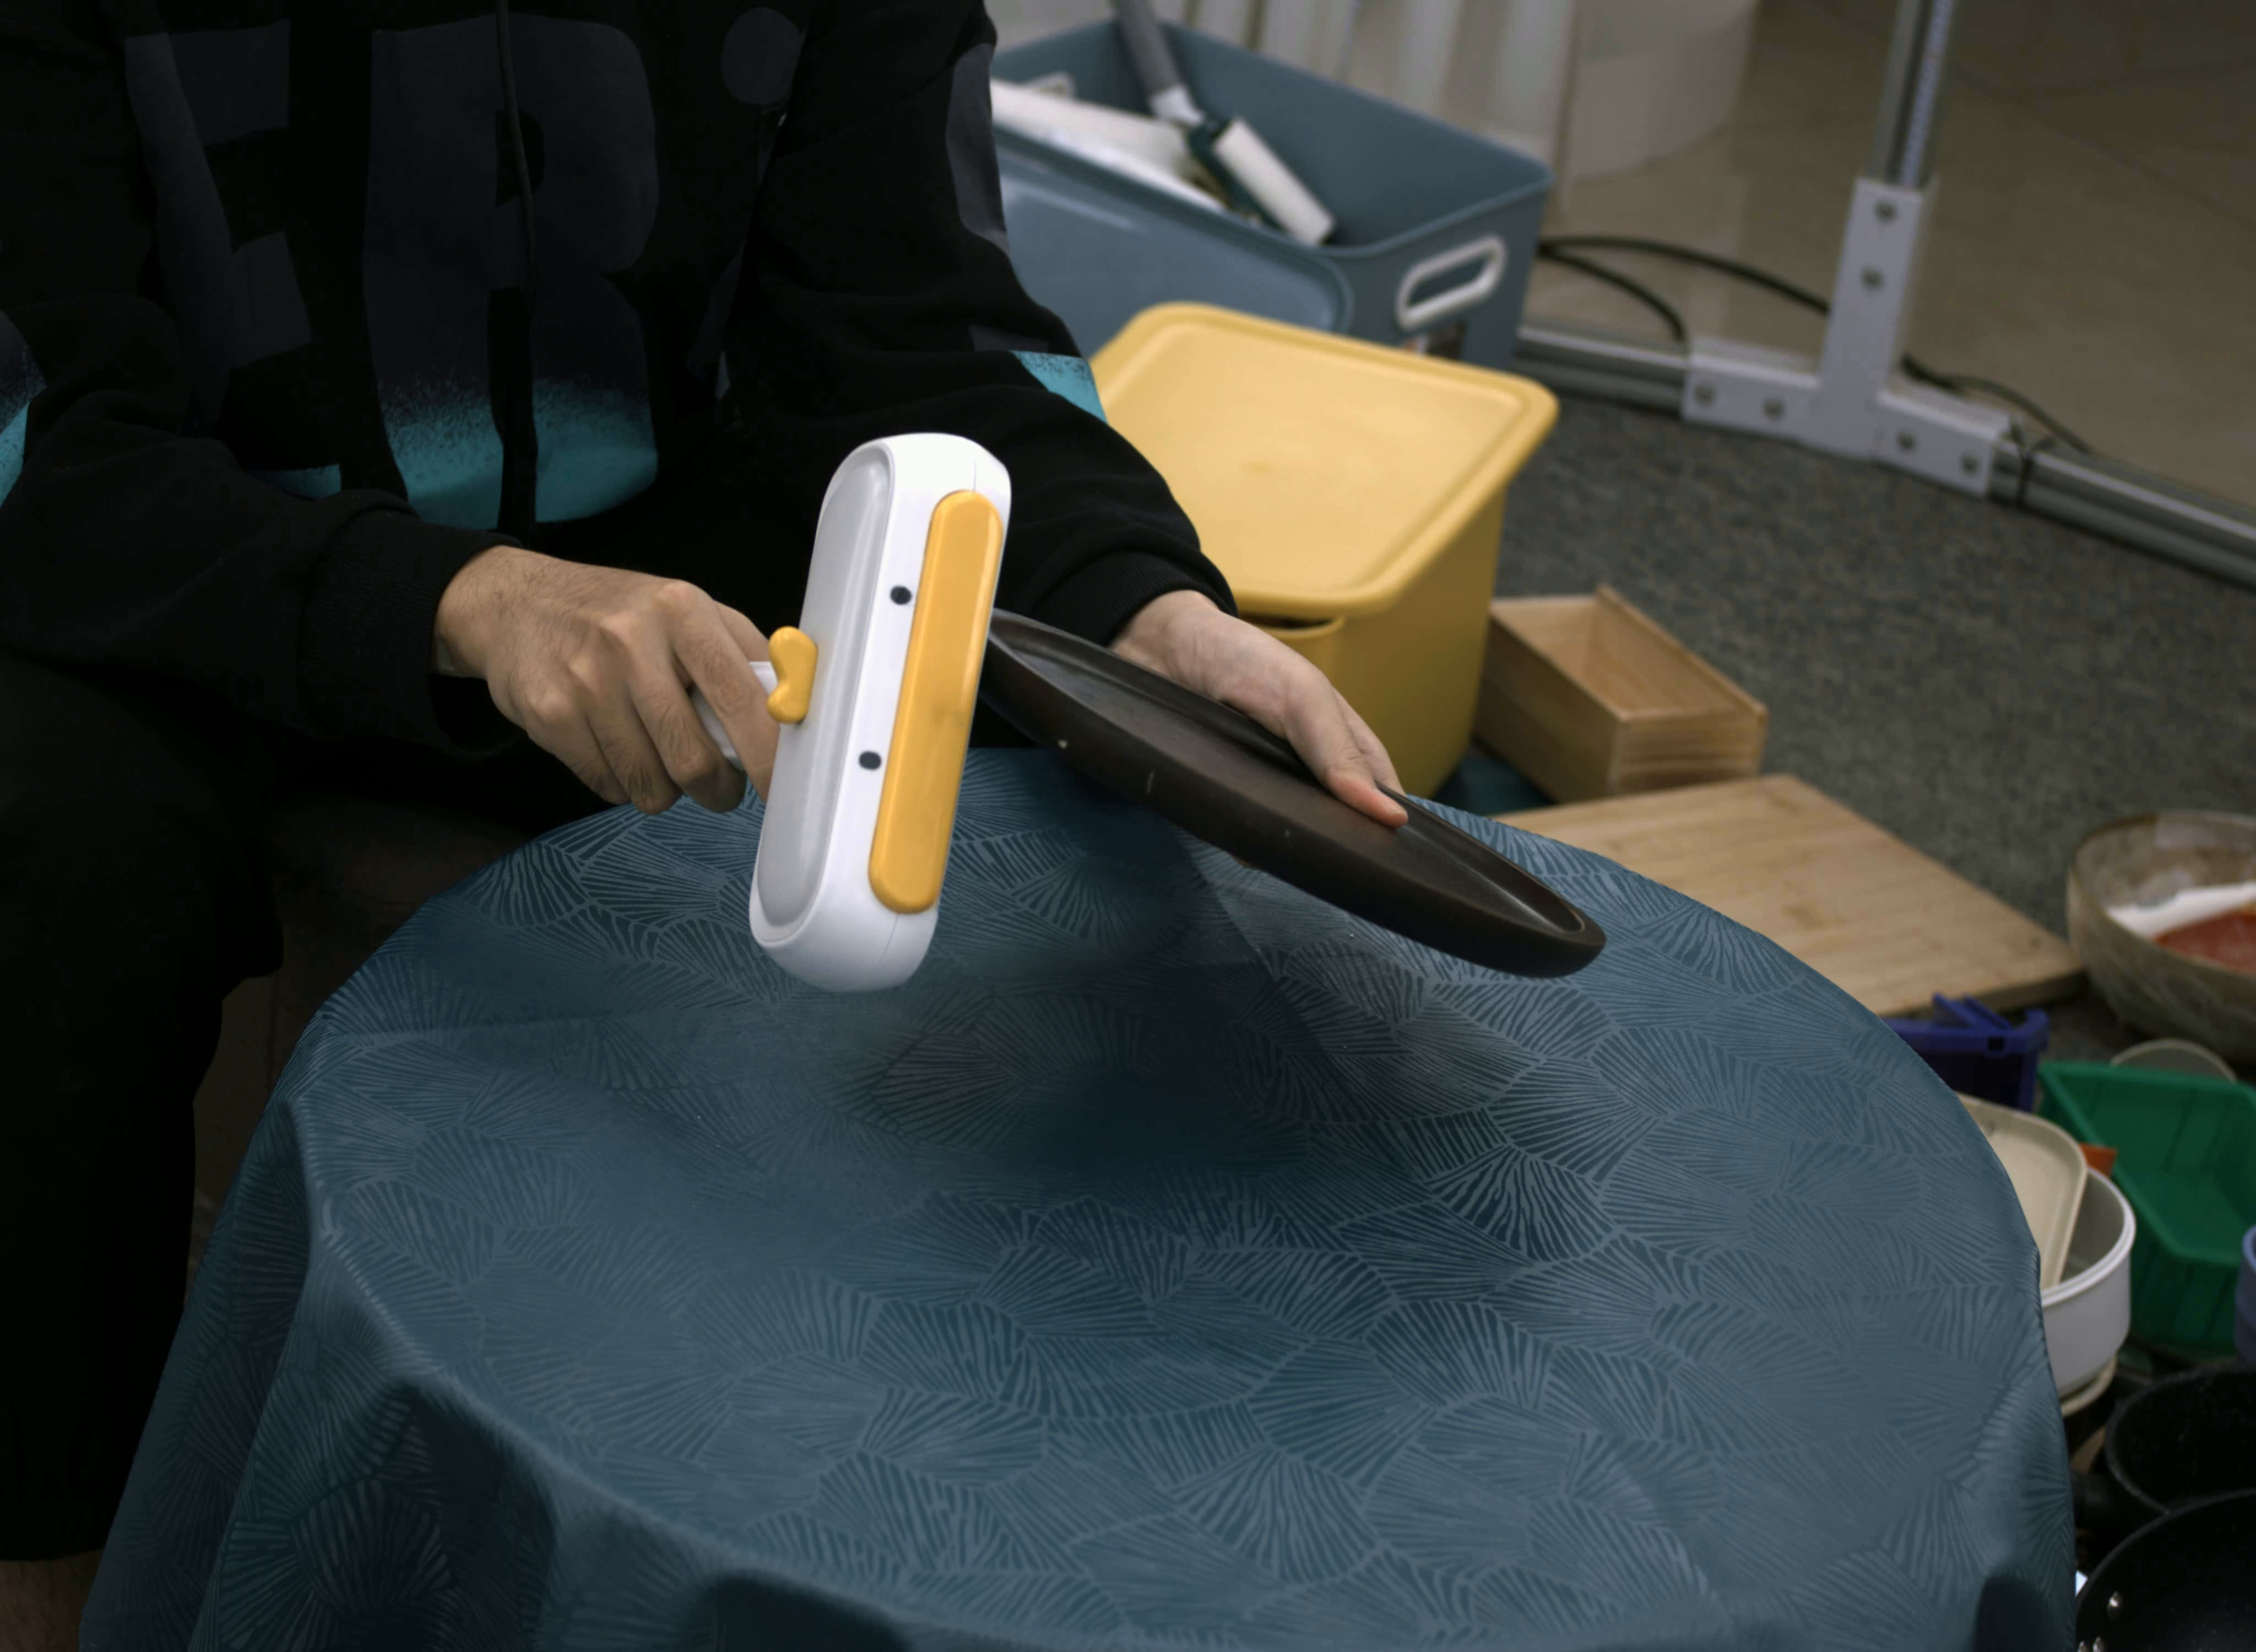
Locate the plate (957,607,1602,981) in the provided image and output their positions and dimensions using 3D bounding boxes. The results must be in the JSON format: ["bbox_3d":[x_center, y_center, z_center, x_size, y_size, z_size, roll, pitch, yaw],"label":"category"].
[{"bbox_3d":[0.049,-0.010,1.848,0.254,0.029,0.255,26,6,-3],"label":"plate"}]

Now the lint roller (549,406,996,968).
[{"bbox_3d":[-0.125,-0.041,1.831,0.073,0.194,0.193,14,-17,-37],"label":"lint roller"}]
